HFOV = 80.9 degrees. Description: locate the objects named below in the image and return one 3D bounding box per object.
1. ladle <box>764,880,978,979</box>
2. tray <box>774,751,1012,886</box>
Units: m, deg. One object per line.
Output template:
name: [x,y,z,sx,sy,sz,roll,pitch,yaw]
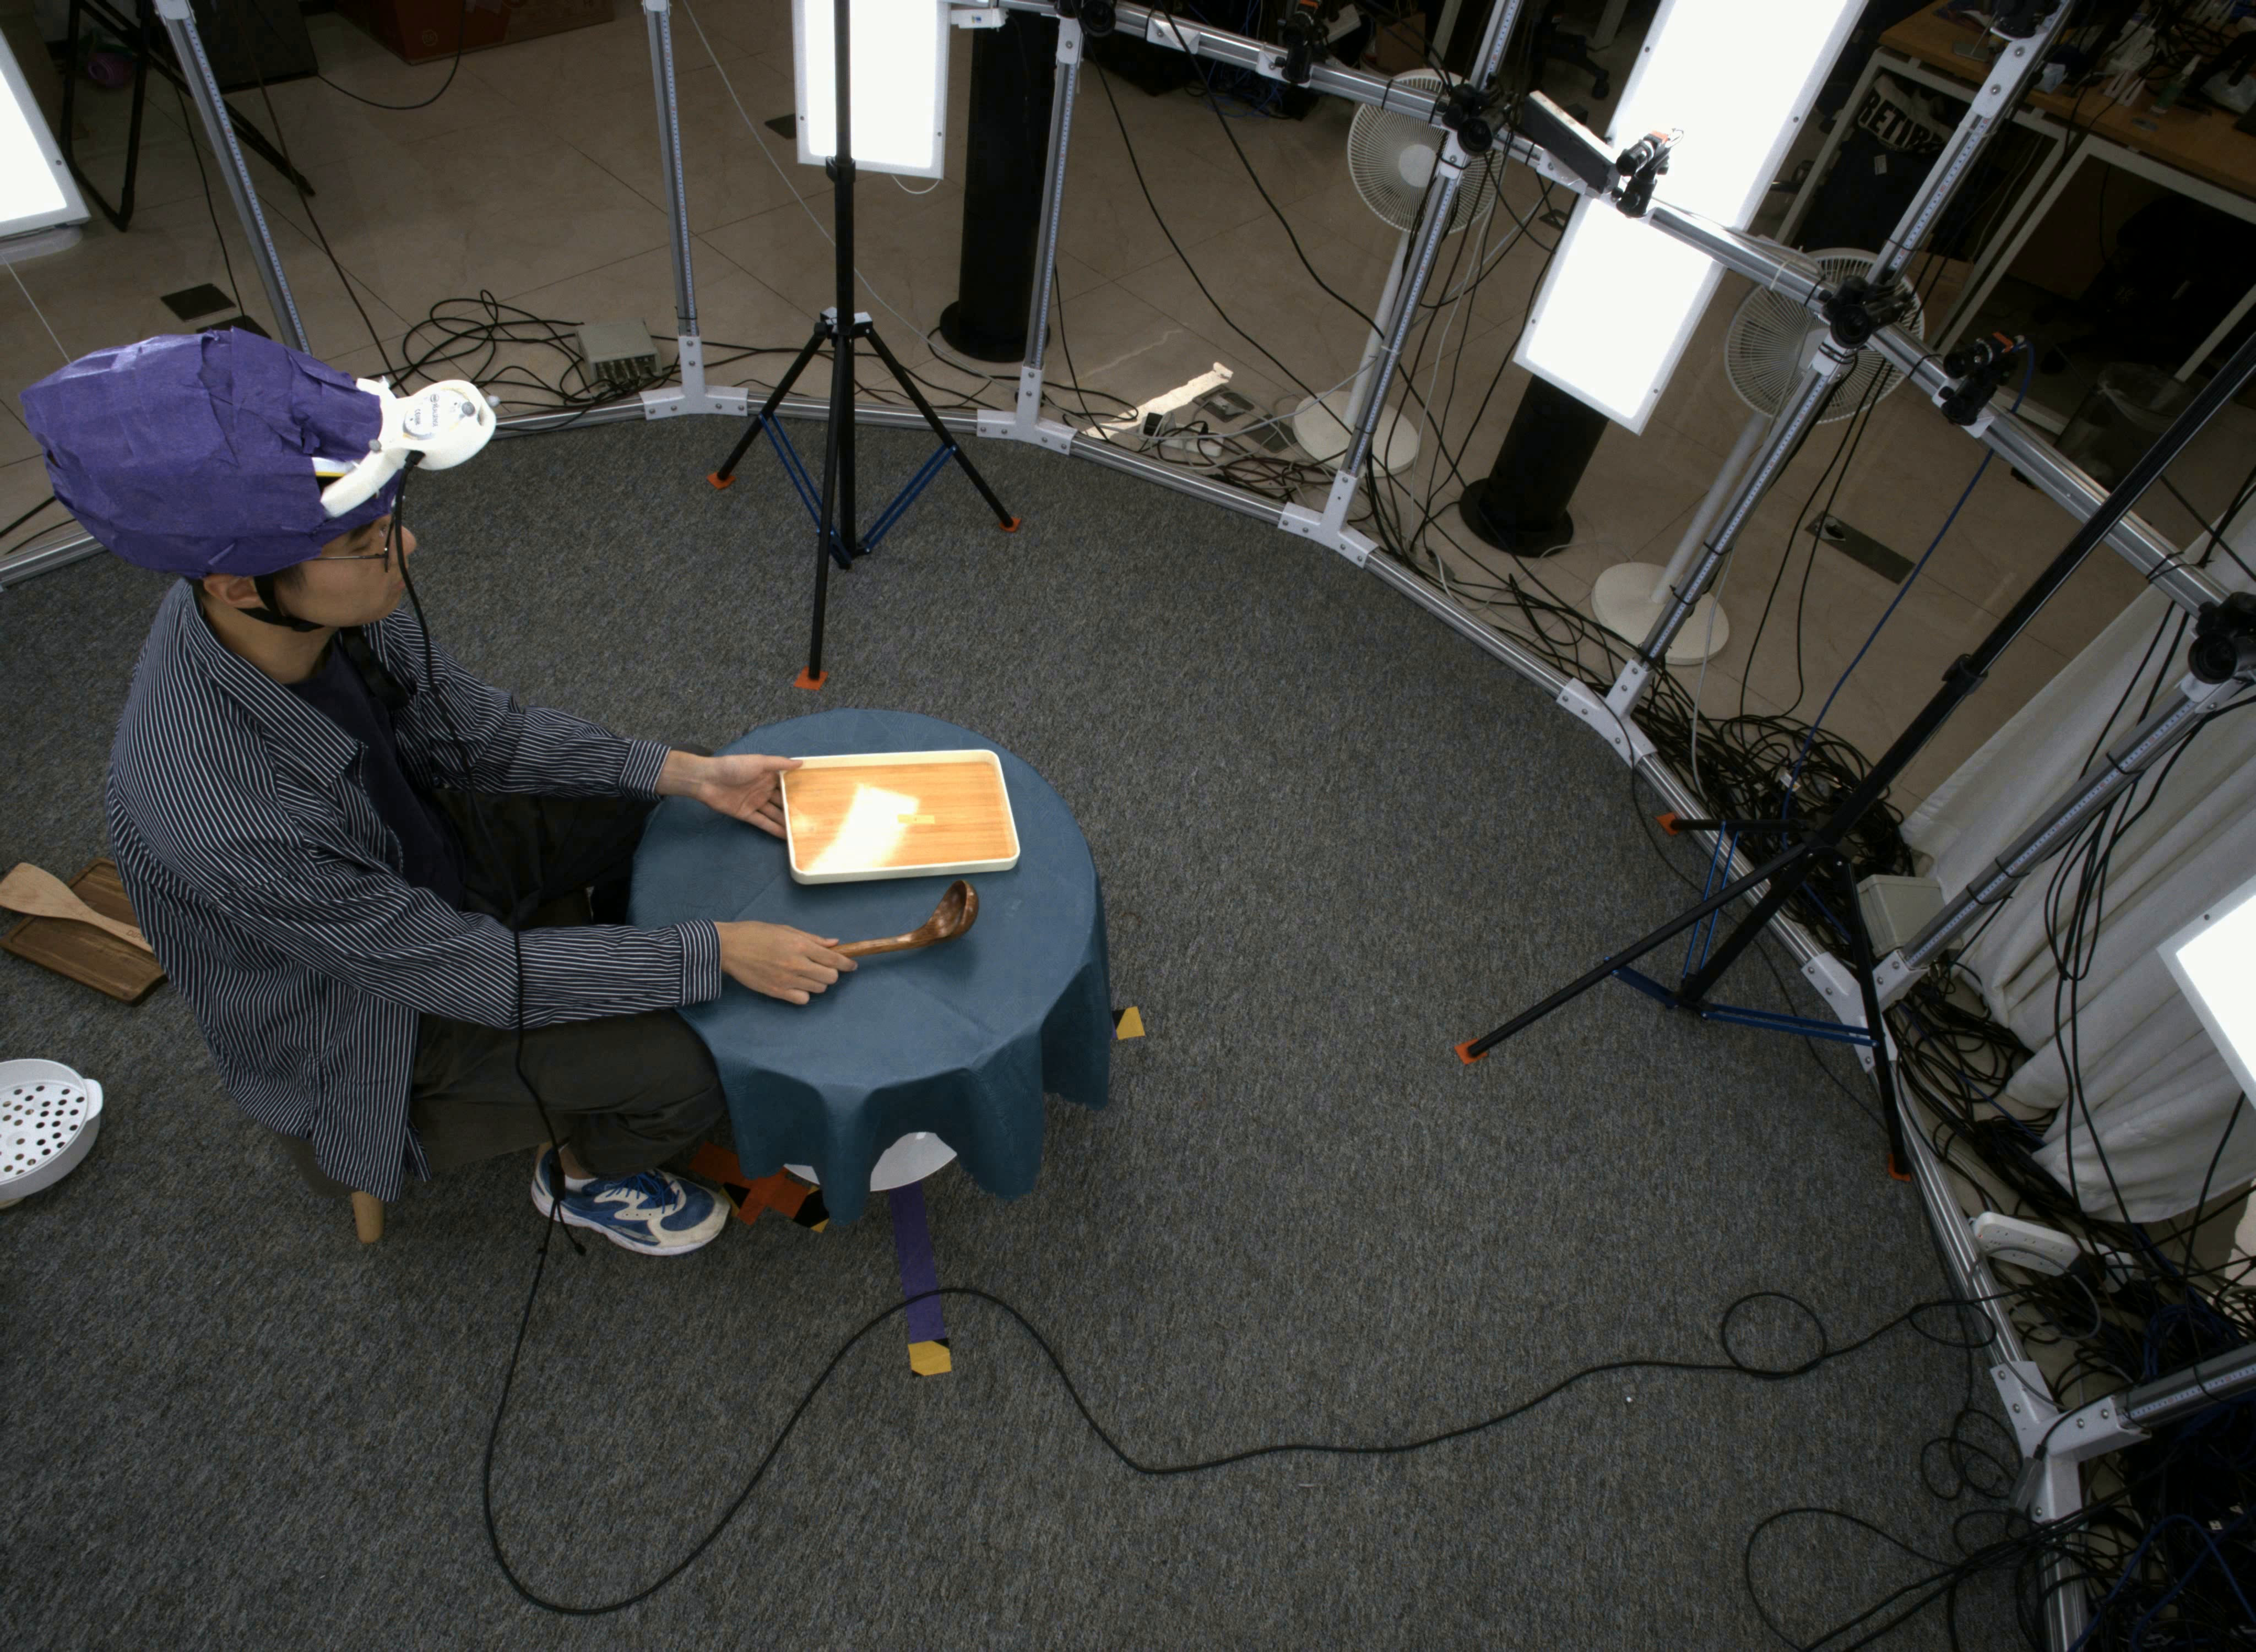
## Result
ladle: [-0.318,0.126,1.608,0.274,0.079,0.079,-10,25,-16]
tray: [-0.316,-0.015,1.745,0.302,0.028,0.187,-3,57,-20]
